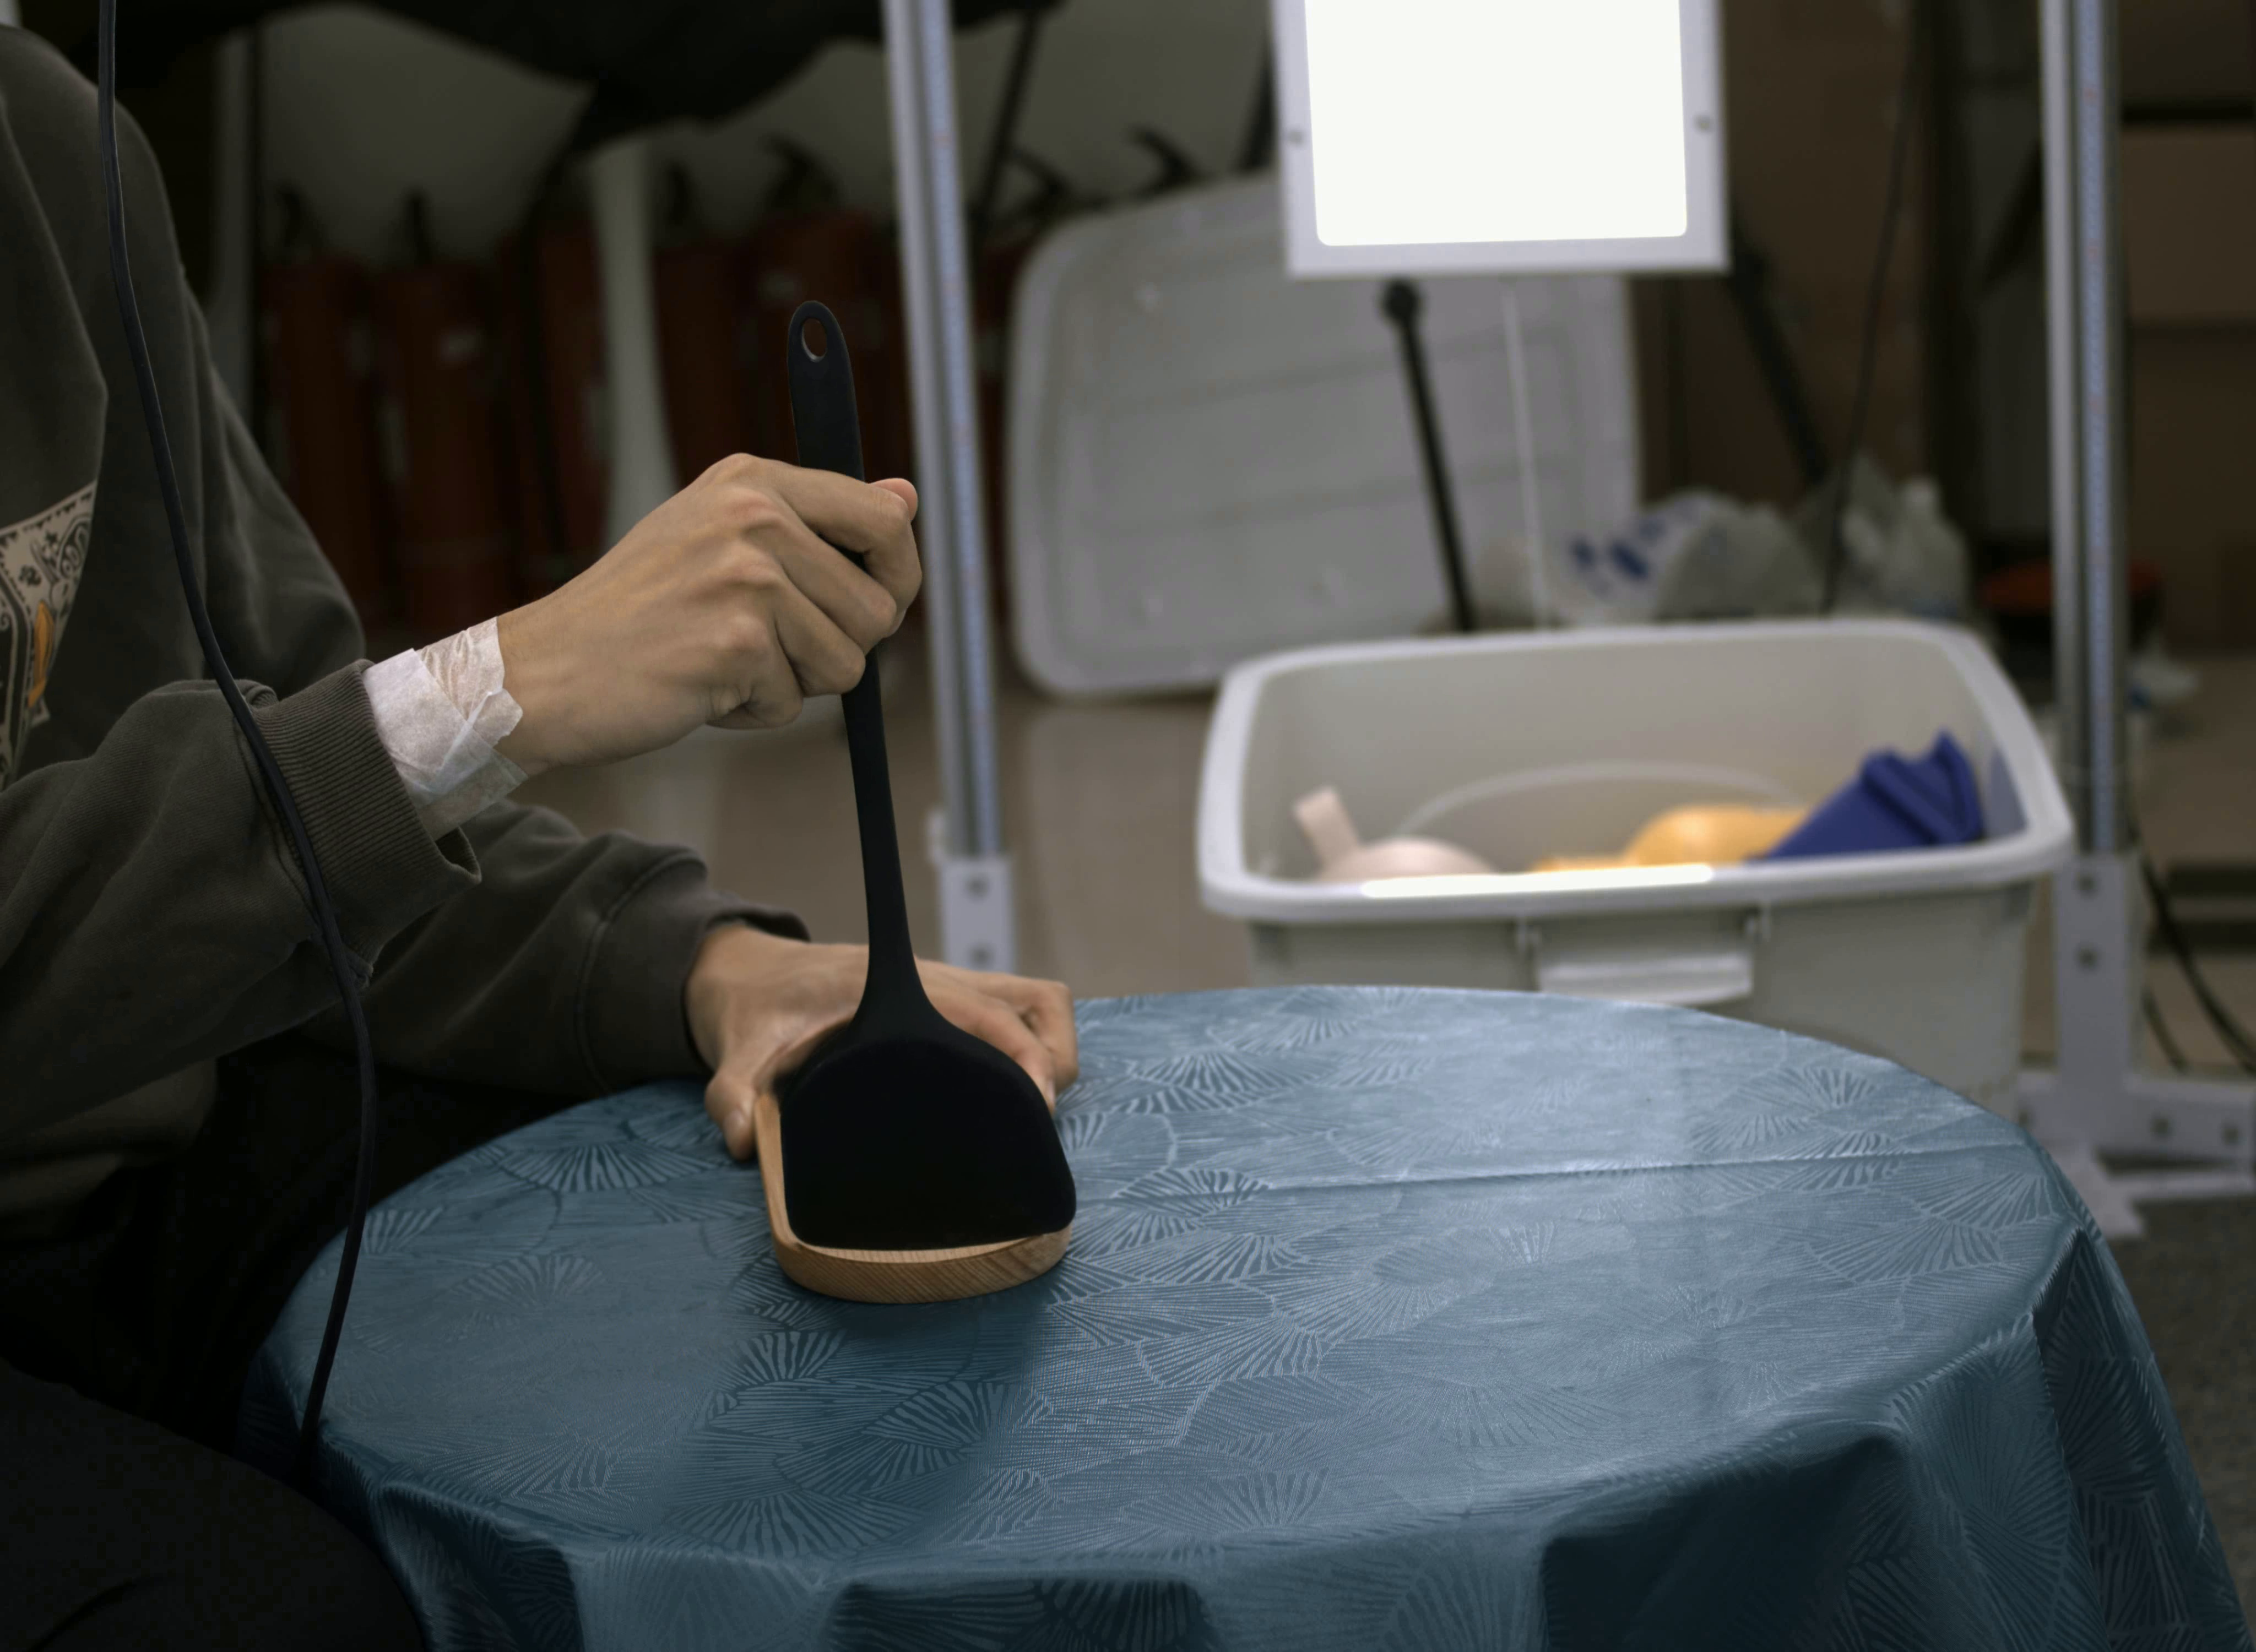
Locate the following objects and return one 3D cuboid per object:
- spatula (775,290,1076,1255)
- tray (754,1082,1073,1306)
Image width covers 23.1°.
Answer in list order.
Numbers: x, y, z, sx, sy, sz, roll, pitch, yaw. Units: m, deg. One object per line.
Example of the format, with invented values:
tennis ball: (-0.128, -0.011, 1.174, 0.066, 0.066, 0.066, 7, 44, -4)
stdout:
spatula: (-0.081, -0.012, 1.761, 0.100, 0.327, 0.040, -4, 14, 7)
tray: (-0.076, 0.122, 1.905, 0.101, 0.020, 0.231, -6, 16, -5)
